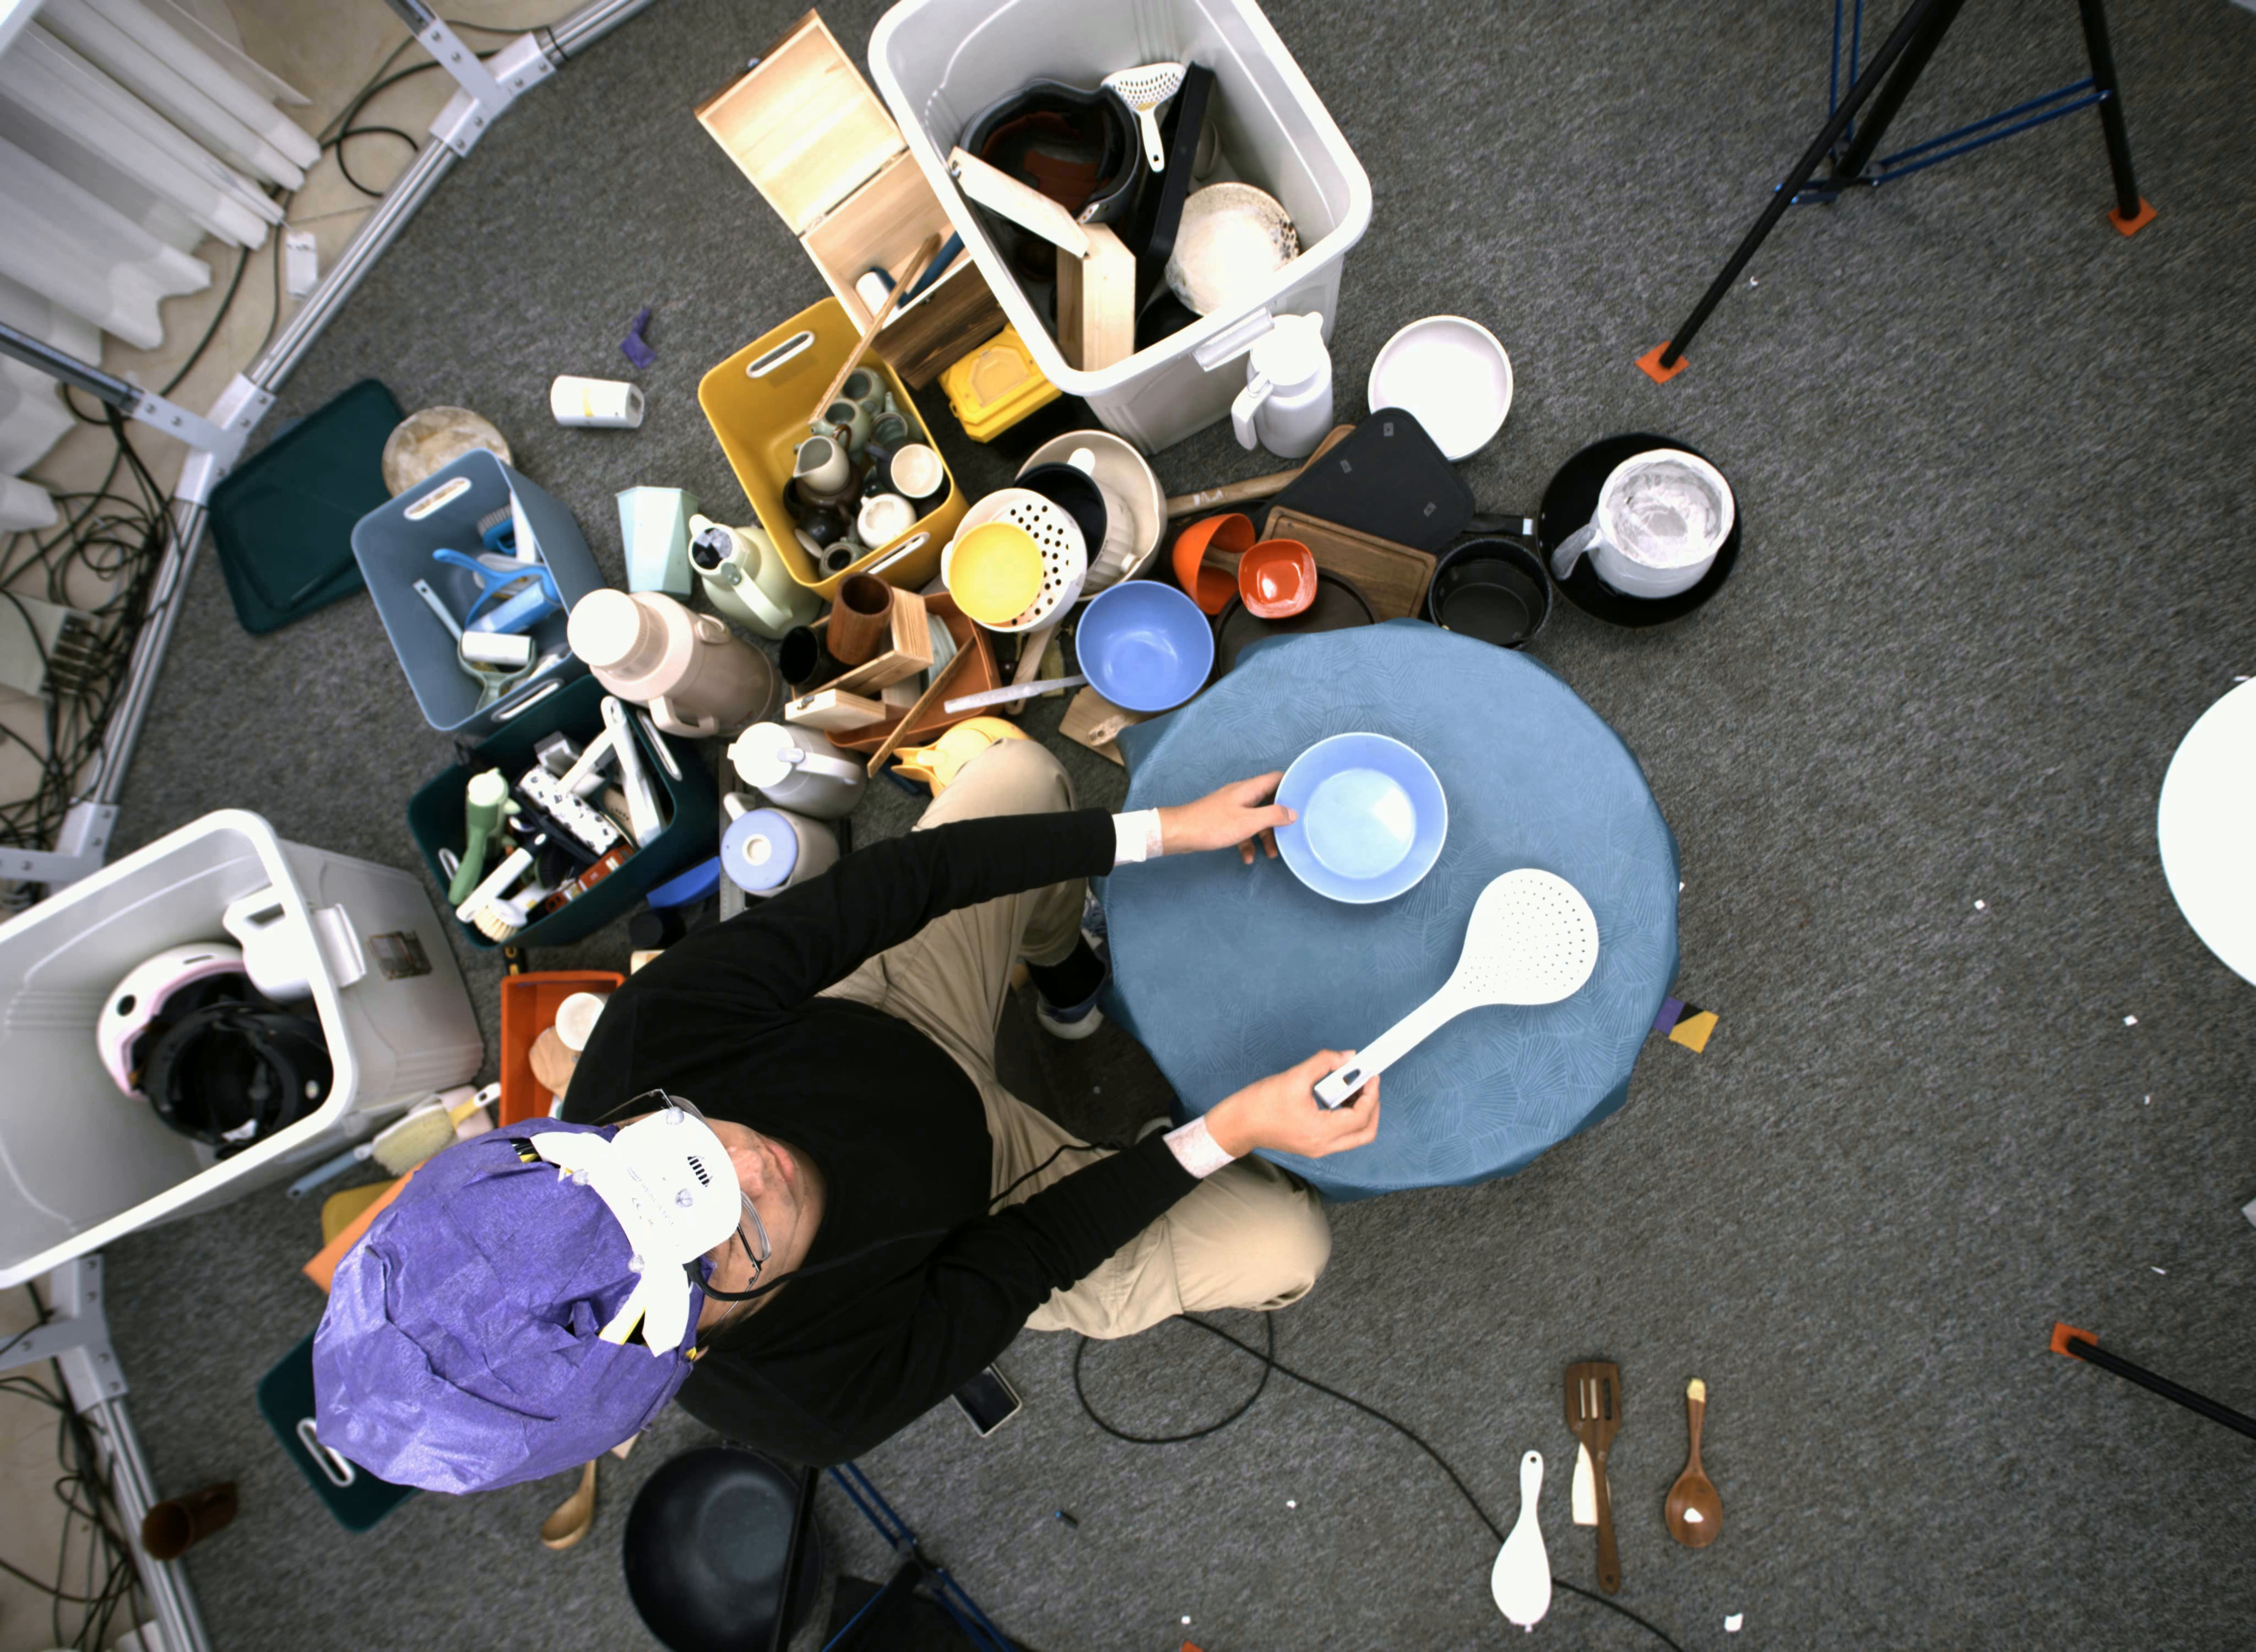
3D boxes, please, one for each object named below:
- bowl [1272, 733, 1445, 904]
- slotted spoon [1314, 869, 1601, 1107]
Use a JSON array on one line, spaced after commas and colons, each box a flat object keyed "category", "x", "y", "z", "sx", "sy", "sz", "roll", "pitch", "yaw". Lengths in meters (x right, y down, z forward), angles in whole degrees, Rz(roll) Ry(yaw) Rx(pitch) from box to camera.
[{"category": "bowl", "x": 0.239, "y": -0.006, "z": 1.435, "sx": 0.177, "sy": 0.070, "sz": 0.175, "roll": -1, "pitch": 87, "yaw": 11}, {"category": "slotted spoon", "x": 0.326, "y": 0.167, "z": 1.372, "sx": 0.346, "sy": 0.046, "sz": 0.135, "roll": -33, "pitch": 86, "yaw": -17}]
